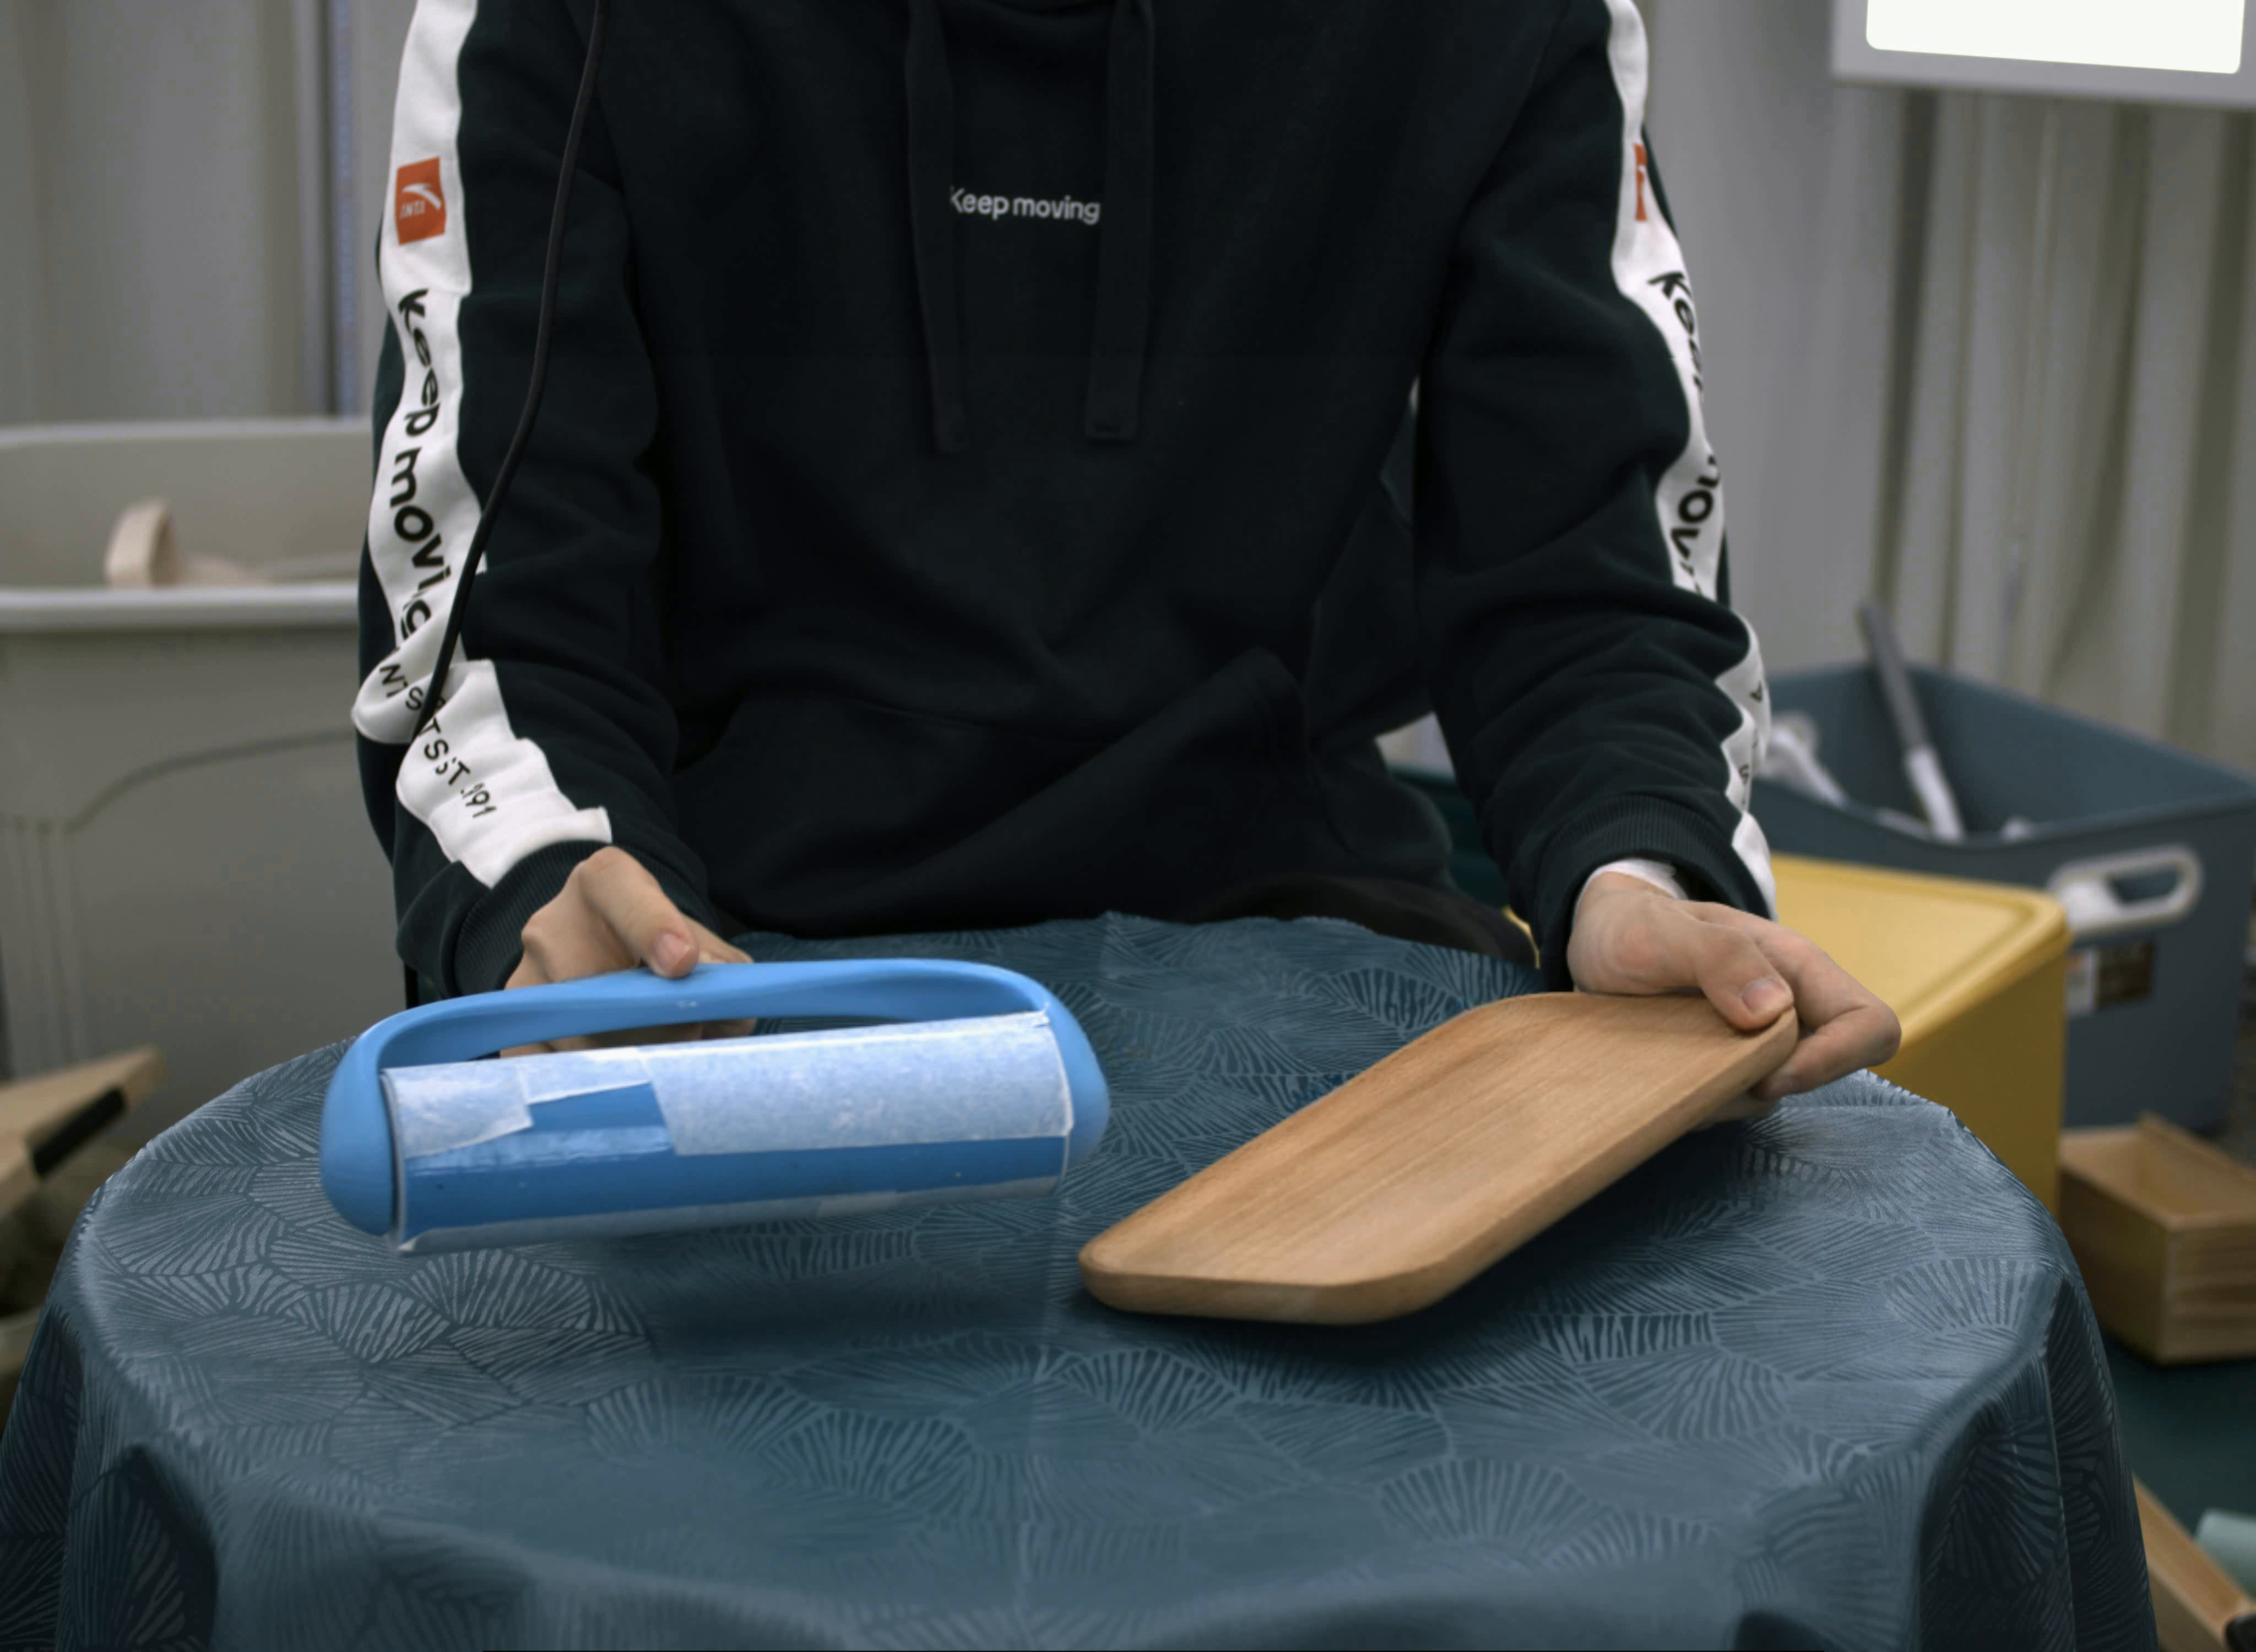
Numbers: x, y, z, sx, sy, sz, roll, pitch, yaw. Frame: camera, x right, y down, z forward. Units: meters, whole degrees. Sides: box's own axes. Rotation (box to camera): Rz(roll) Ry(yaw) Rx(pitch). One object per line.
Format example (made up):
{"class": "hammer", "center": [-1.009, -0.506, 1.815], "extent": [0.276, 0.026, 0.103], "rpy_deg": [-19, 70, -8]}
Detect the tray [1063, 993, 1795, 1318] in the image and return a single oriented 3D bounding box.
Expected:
{"class": "tray", "center": [0.094, 0.096, 1.581], "extent": [0.129, 0.023, 0.251], "rpy_deg": [-3, 15, 39]}

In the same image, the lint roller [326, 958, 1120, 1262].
{"class": "lint roller", "center": [-0.132, 0.072, 1.541], "extent": [0.229, 0.068, 0.178], "rpy_deg": [-7, 16, -19]}
